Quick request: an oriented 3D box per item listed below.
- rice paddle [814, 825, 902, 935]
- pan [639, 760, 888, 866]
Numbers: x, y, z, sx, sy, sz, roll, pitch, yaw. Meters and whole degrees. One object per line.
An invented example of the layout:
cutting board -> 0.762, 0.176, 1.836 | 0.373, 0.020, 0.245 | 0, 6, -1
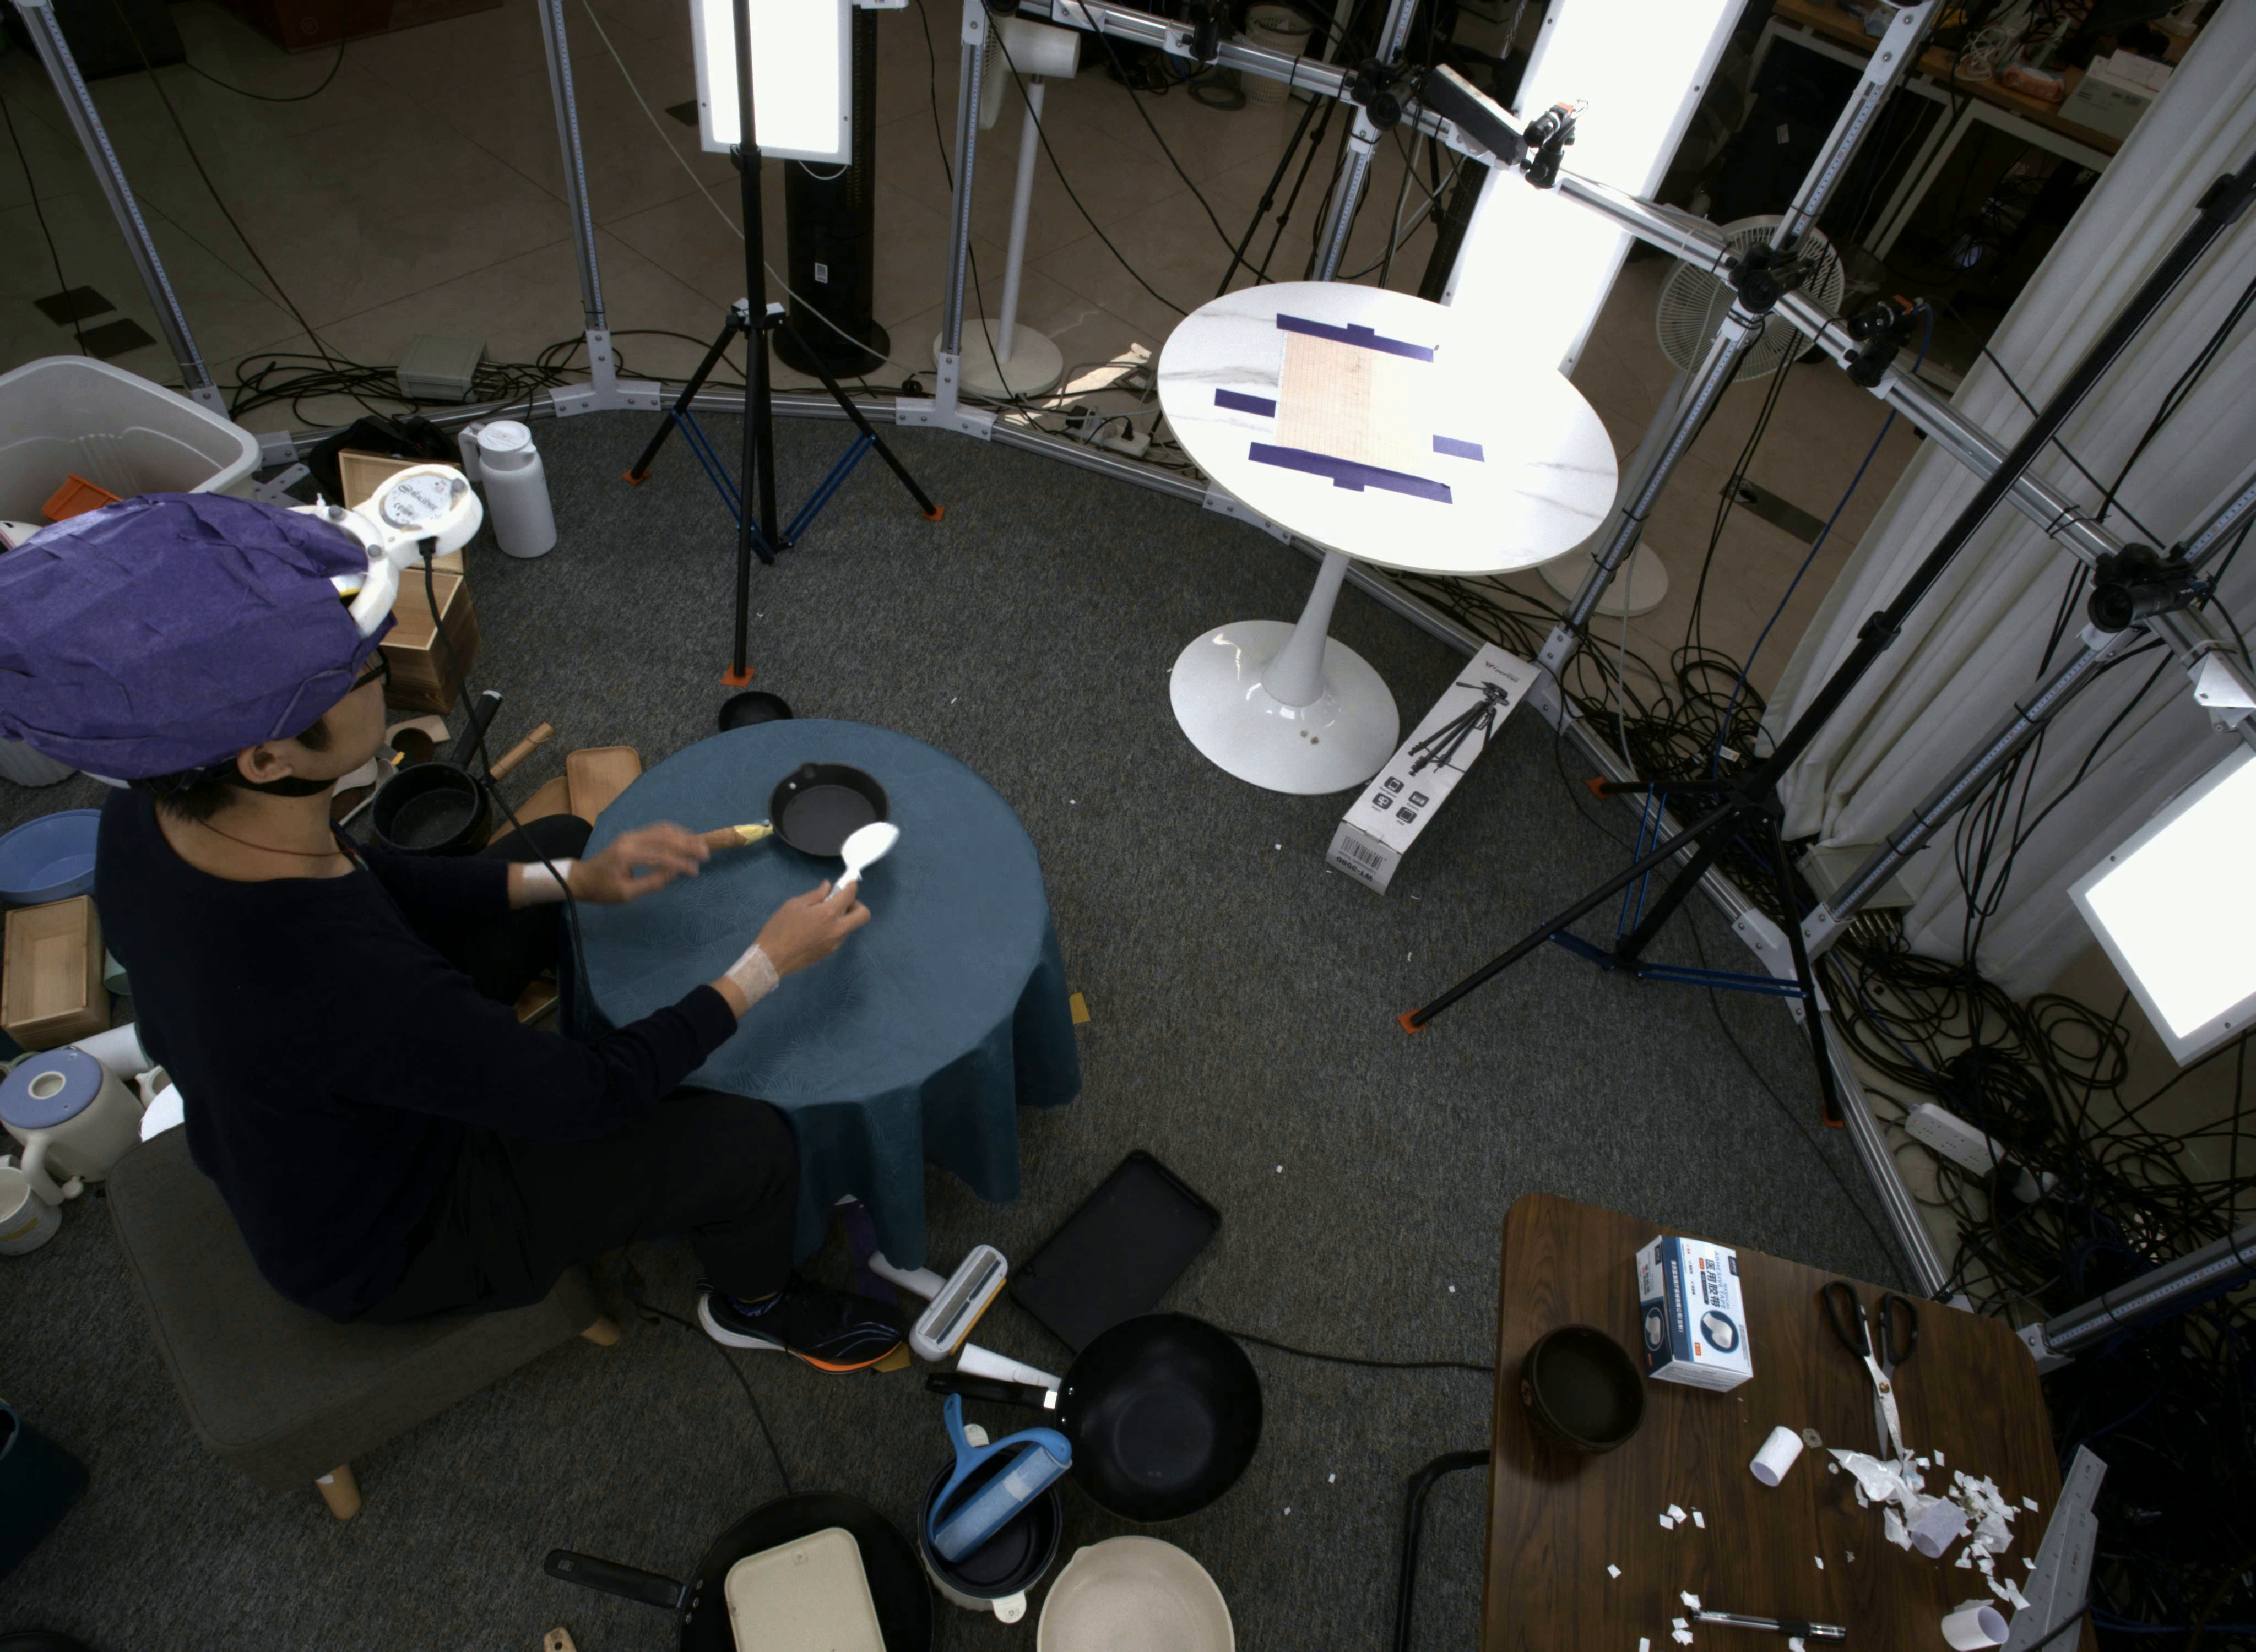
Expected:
rice paddle -> -0.334, 0.055, 1.599 | 0.067, 0.030, 0.202 | 5, 38, 11
pan -> -0.468, 0.002, 1.668 | 0.326, 0.050, 0.165 | -16, 59, -27
